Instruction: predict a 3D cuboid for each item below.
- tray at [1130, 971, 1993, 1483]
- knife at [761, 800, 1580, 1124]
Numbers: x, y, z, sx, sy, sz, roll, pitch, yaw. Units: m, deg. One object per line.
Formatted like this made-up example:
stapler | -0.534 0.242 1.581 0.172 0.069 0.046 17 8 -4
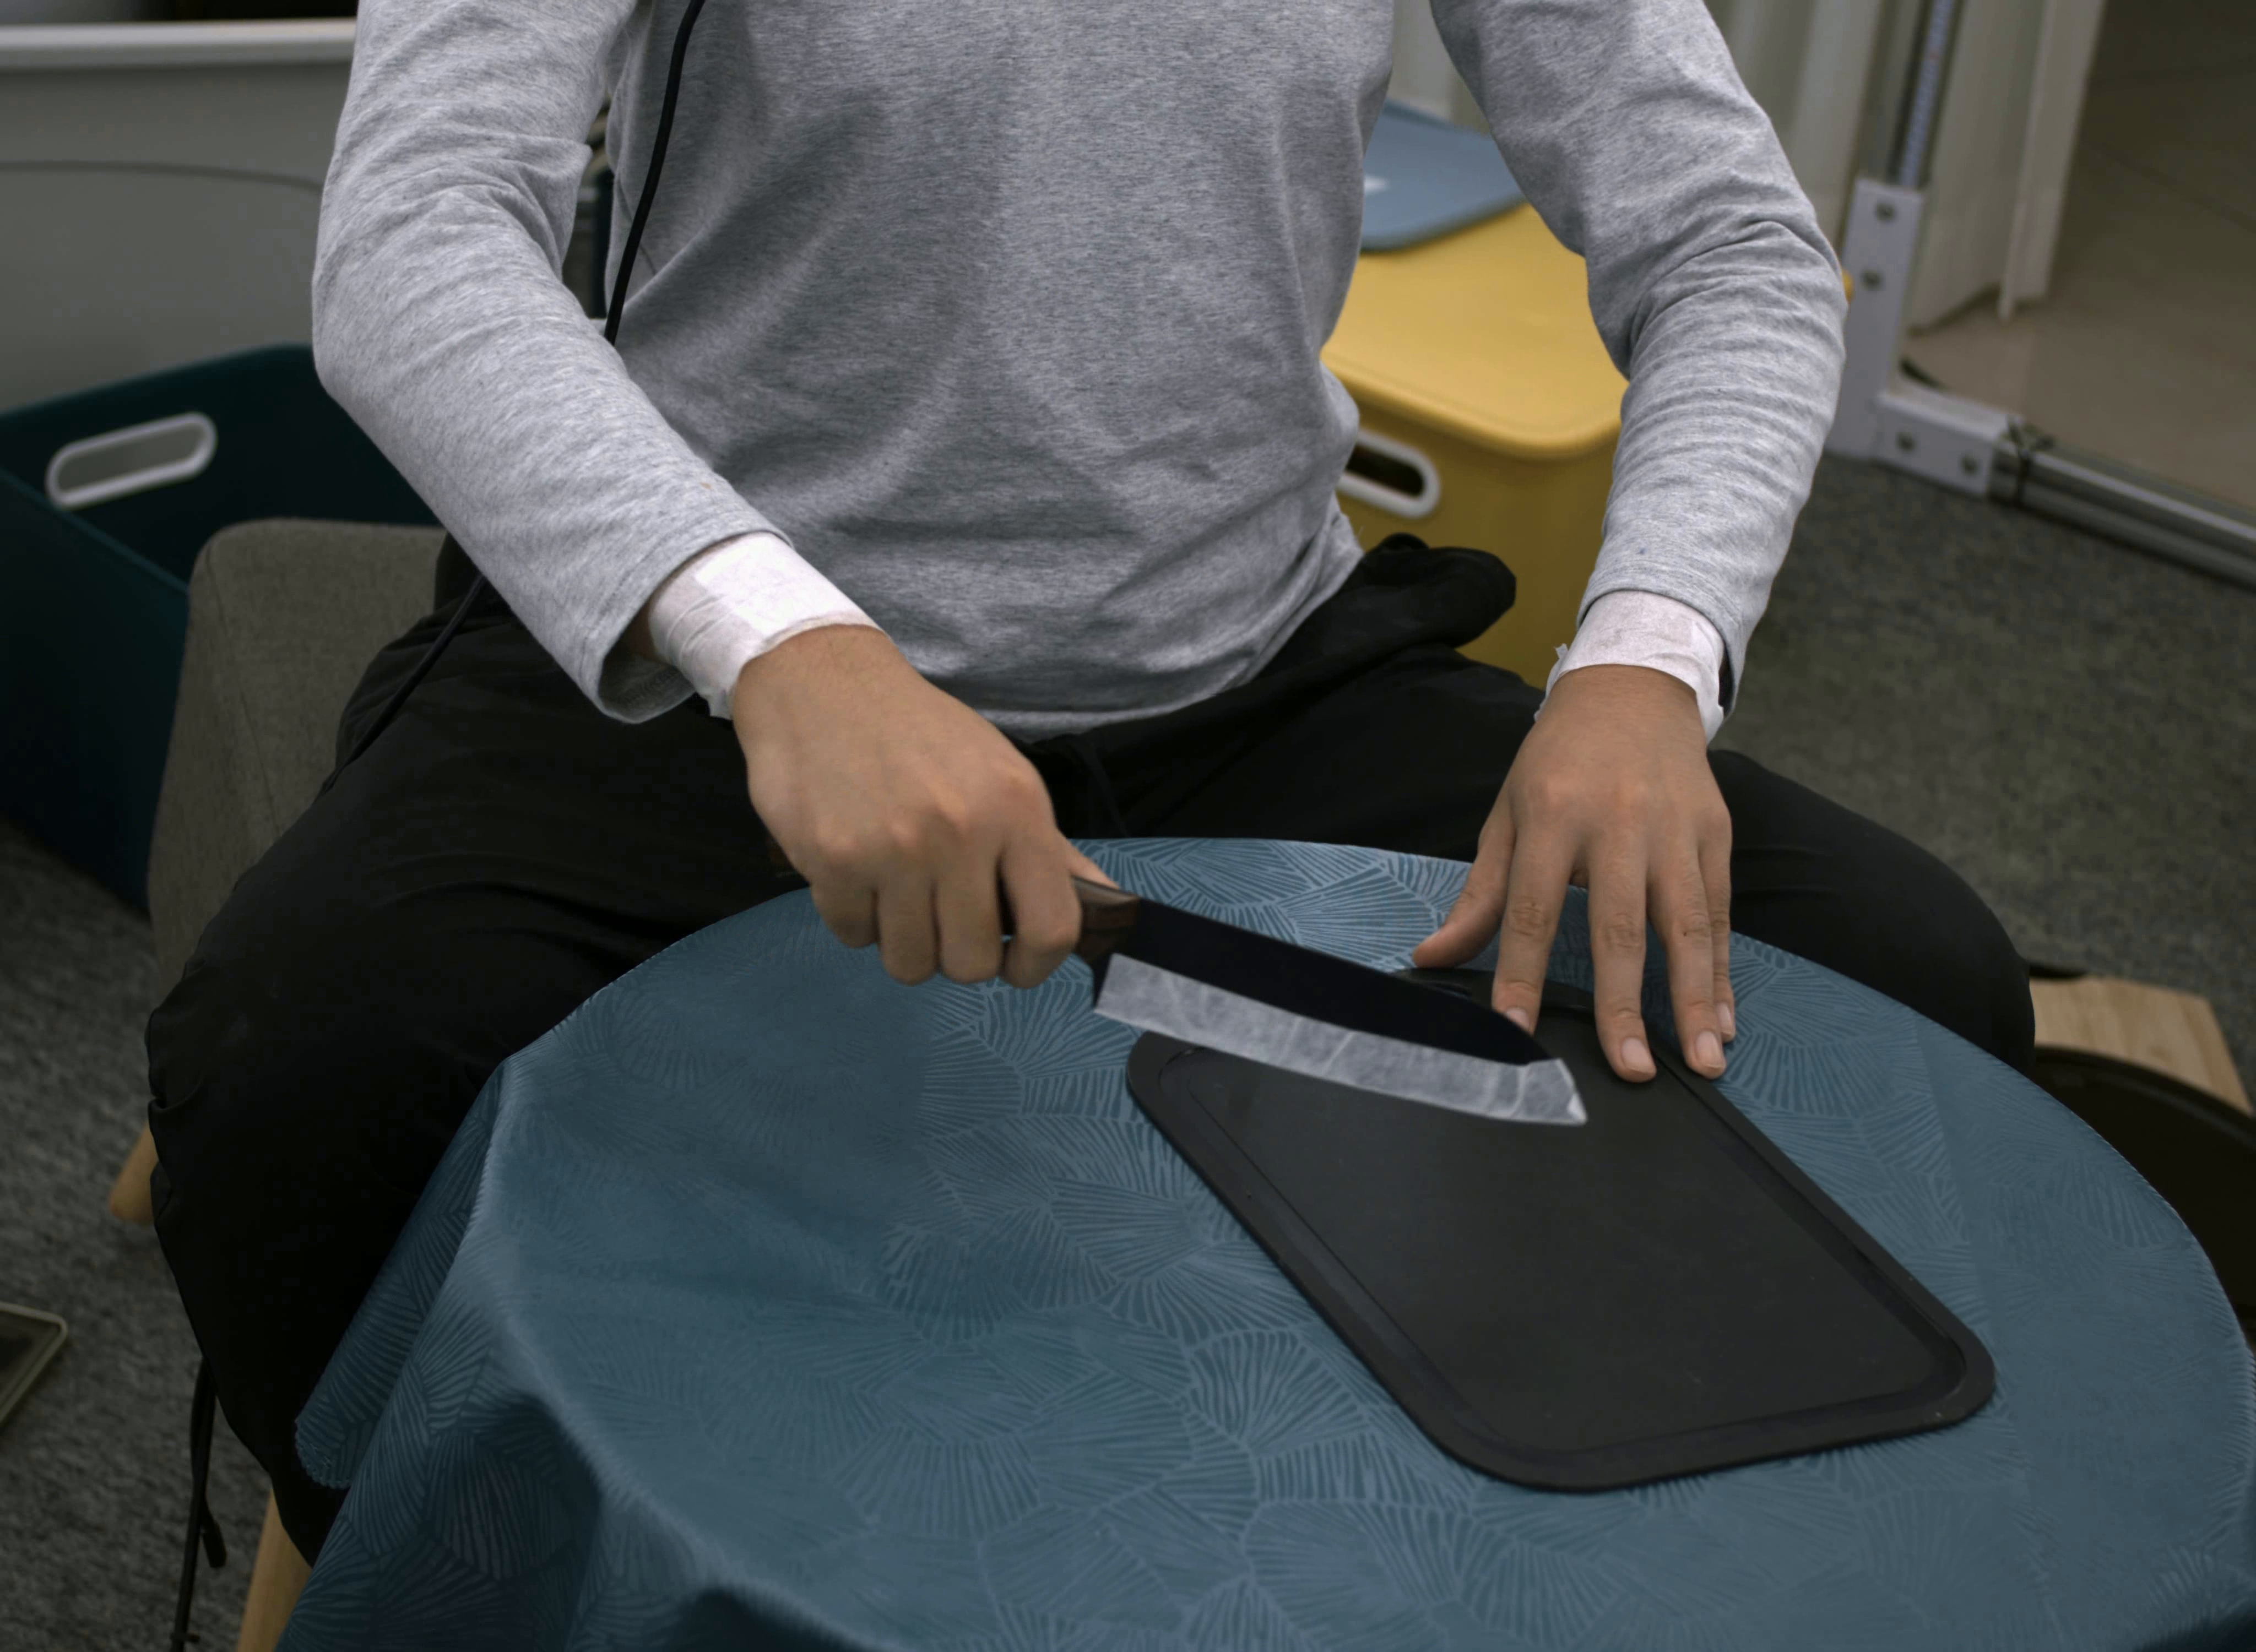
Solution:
tray | 0.139 0.127 1.823 0.210 0.010 0.328 -6 29 -24
knife | 0.013 0.046 1.755 0.289 0.050 0.020 19 20 3
